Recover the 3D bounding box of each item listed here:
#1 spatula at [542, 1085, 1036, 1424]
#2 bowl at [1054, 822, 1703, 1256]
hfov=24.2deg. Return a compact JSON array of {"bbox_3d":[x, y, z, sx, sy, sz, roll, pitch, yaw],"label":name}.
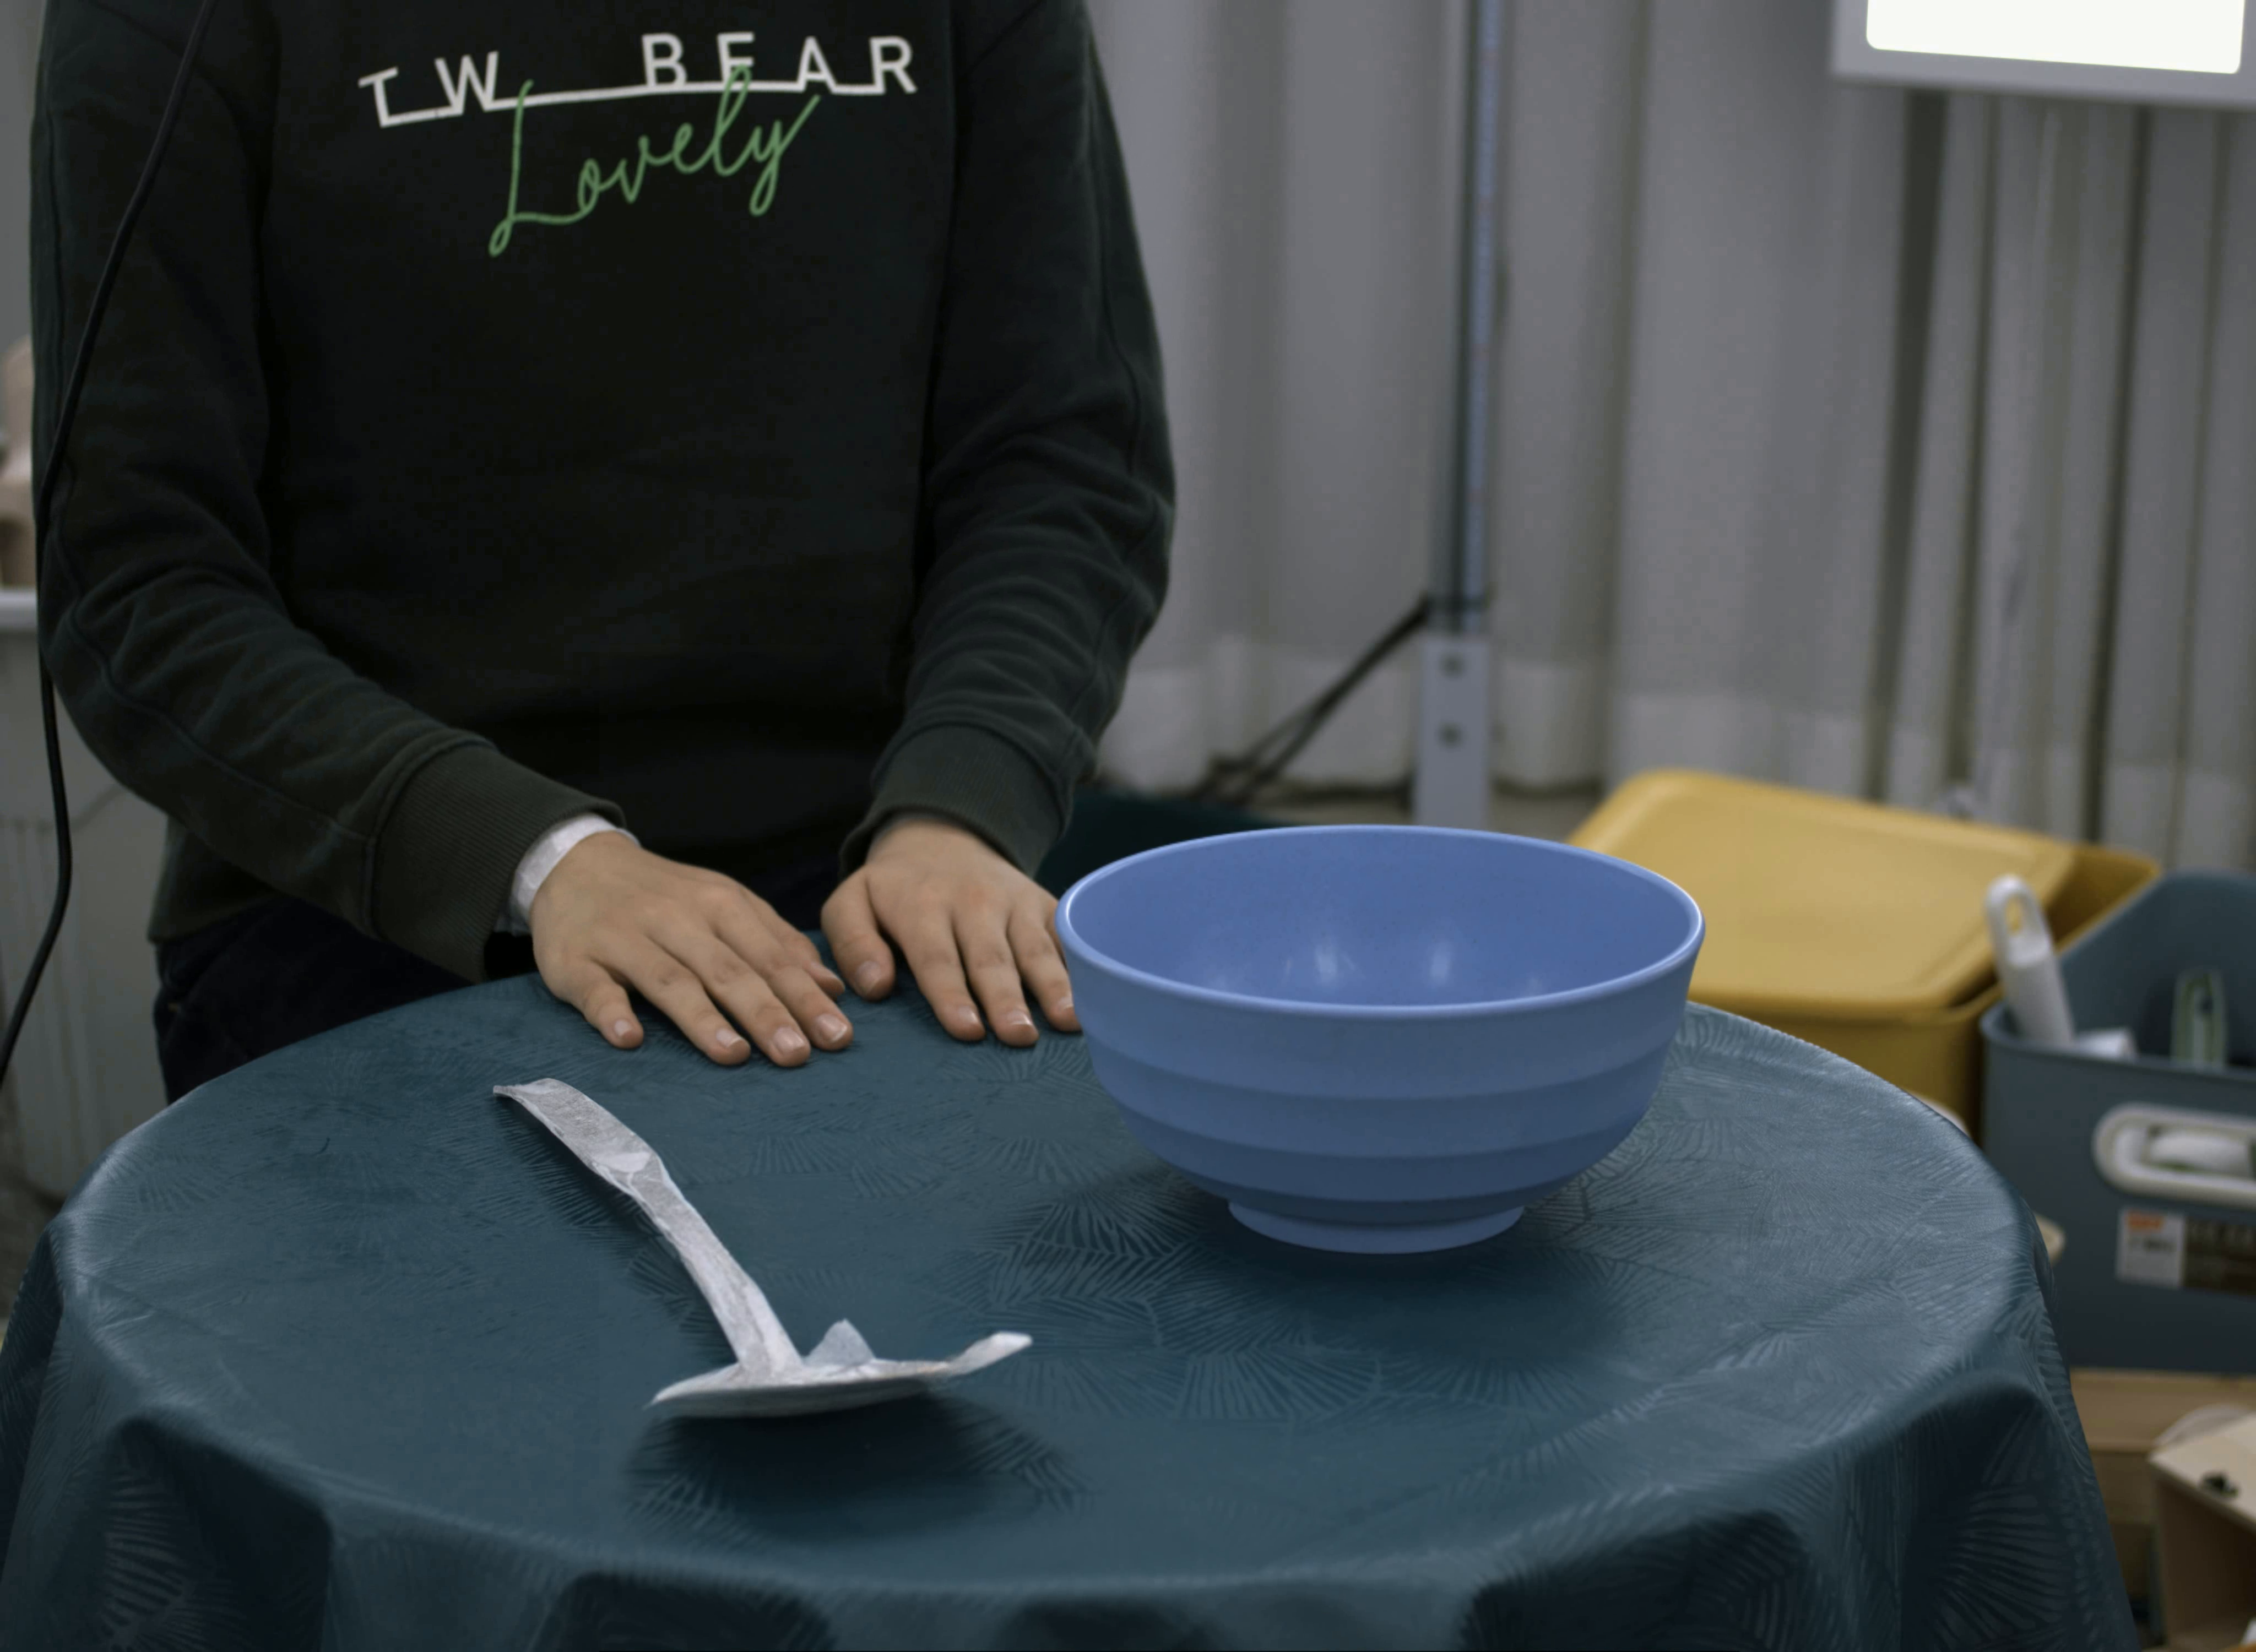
[{"bbox_3d":[-0.125,0.116,1.540,0.099,0.045,0.361,-7,18,-19],"label":"spatula"},{"bbox_3d":[0.076,0.070,1.603,0.196,0.096,0.195,0,17,1],"label":"bowl"}]
